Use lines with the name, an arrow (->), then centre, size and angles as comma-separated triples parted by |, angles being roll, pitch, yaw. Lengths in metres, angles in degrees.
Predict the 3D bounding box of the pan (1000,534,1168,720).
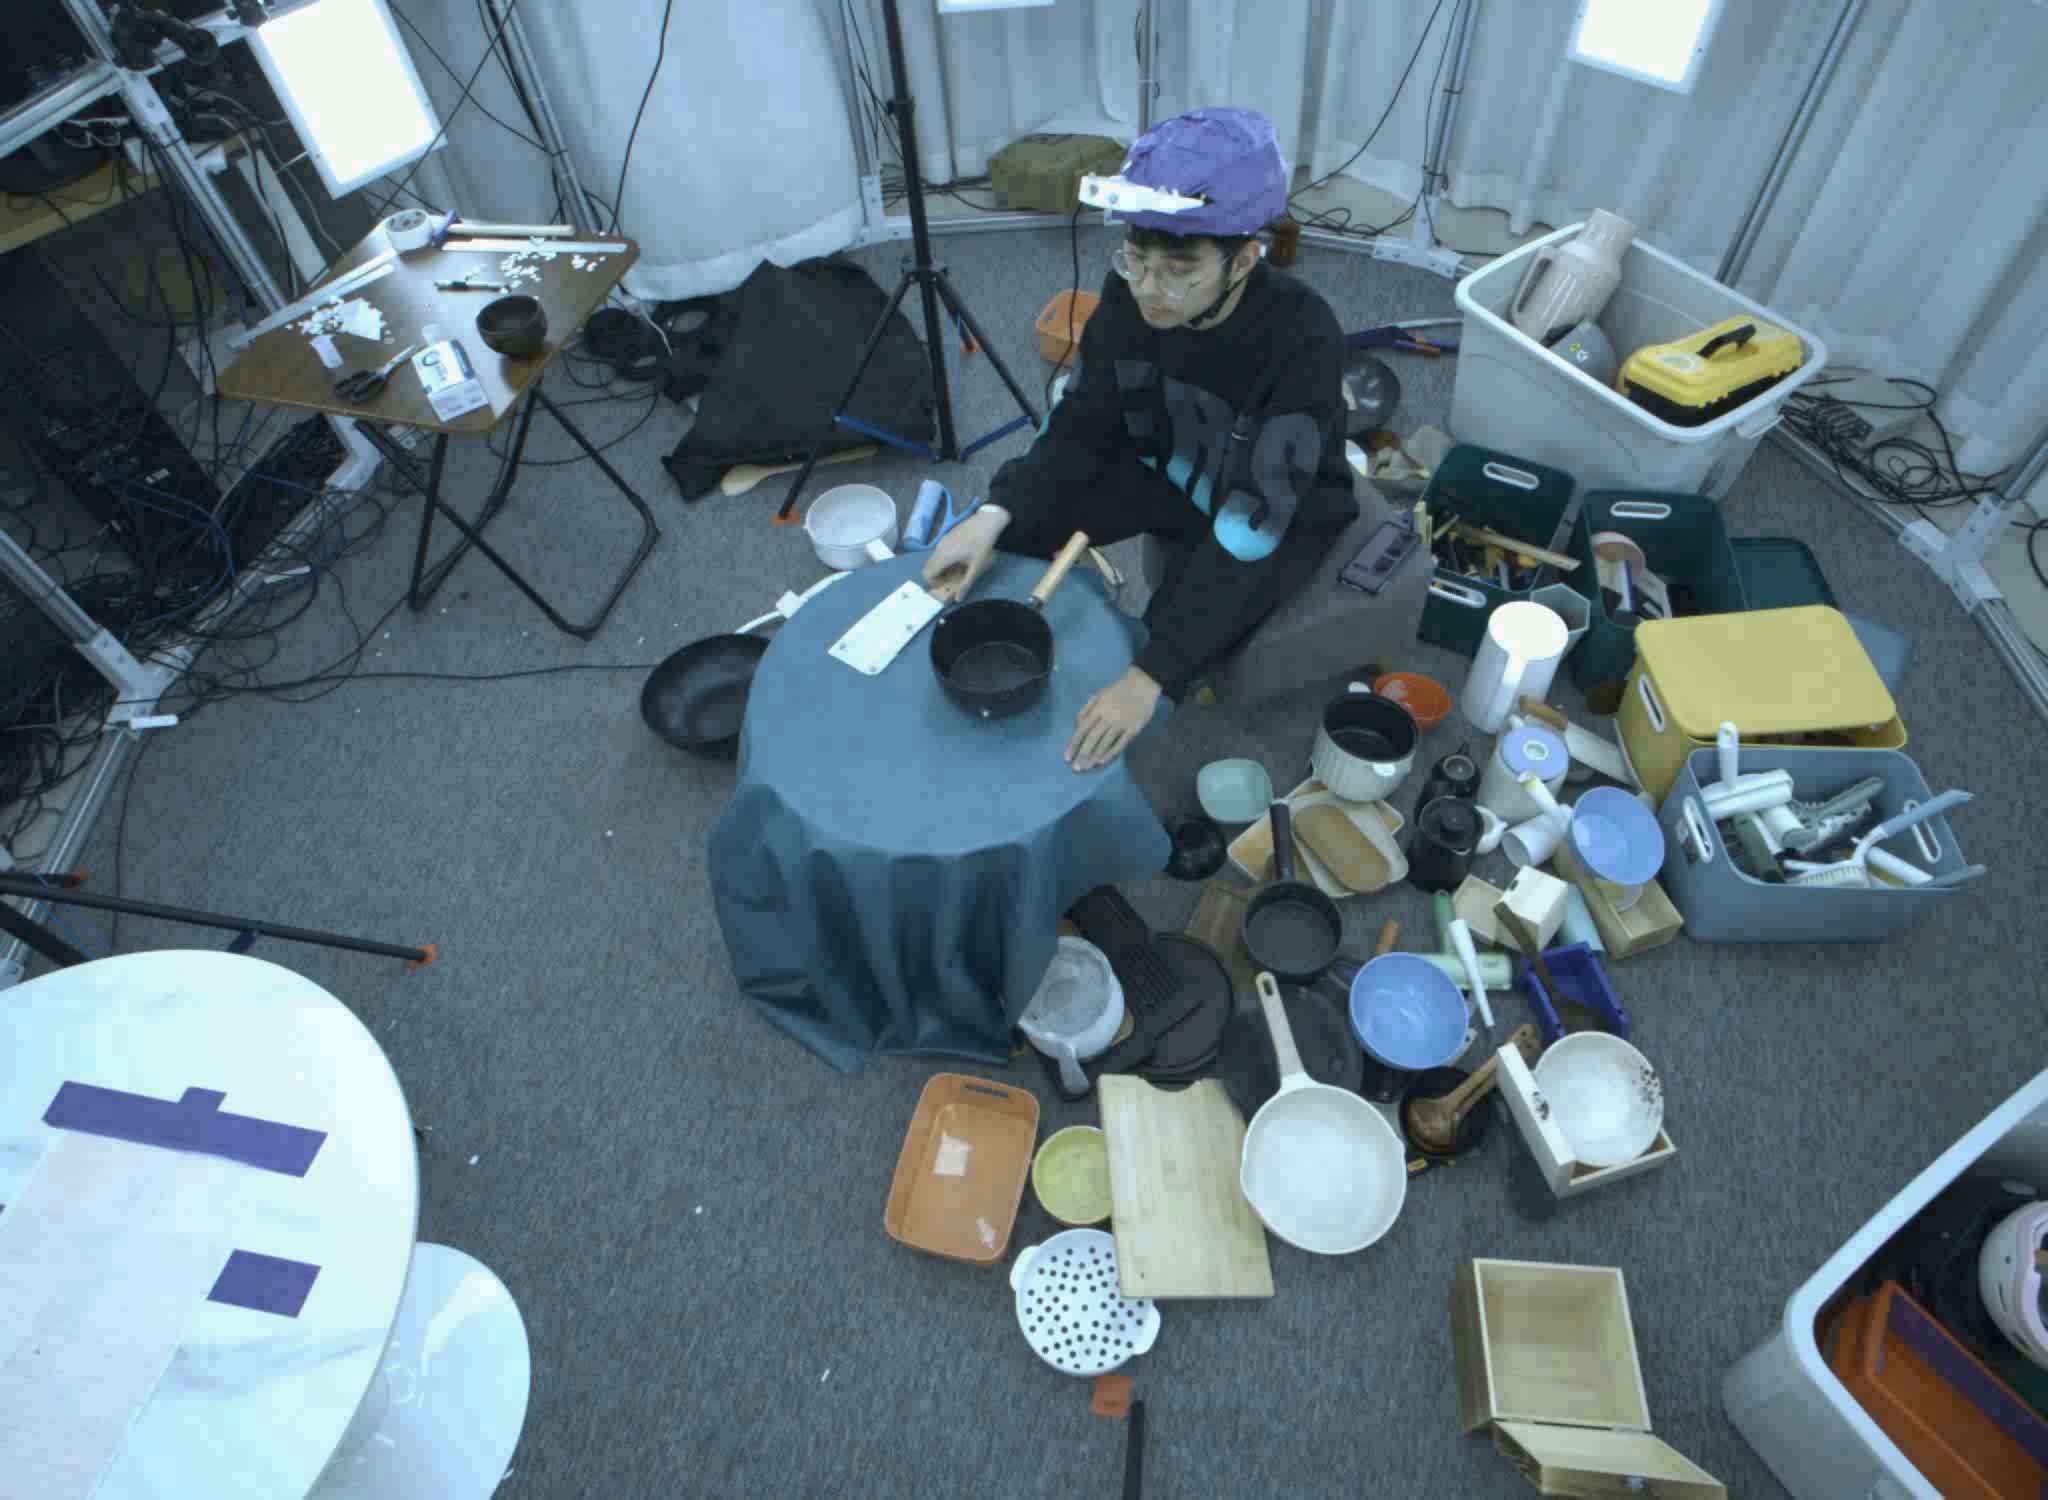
pan -> 0.108, -0.189, 1.849 | 0.204, 0.109, 0.344 | 30, 62, 23

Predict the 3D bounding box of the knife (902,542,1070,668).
knife -> -0.049, -0.235, 1.944 | 0.317, 0.022, 0.112 | -38, 61, -19
